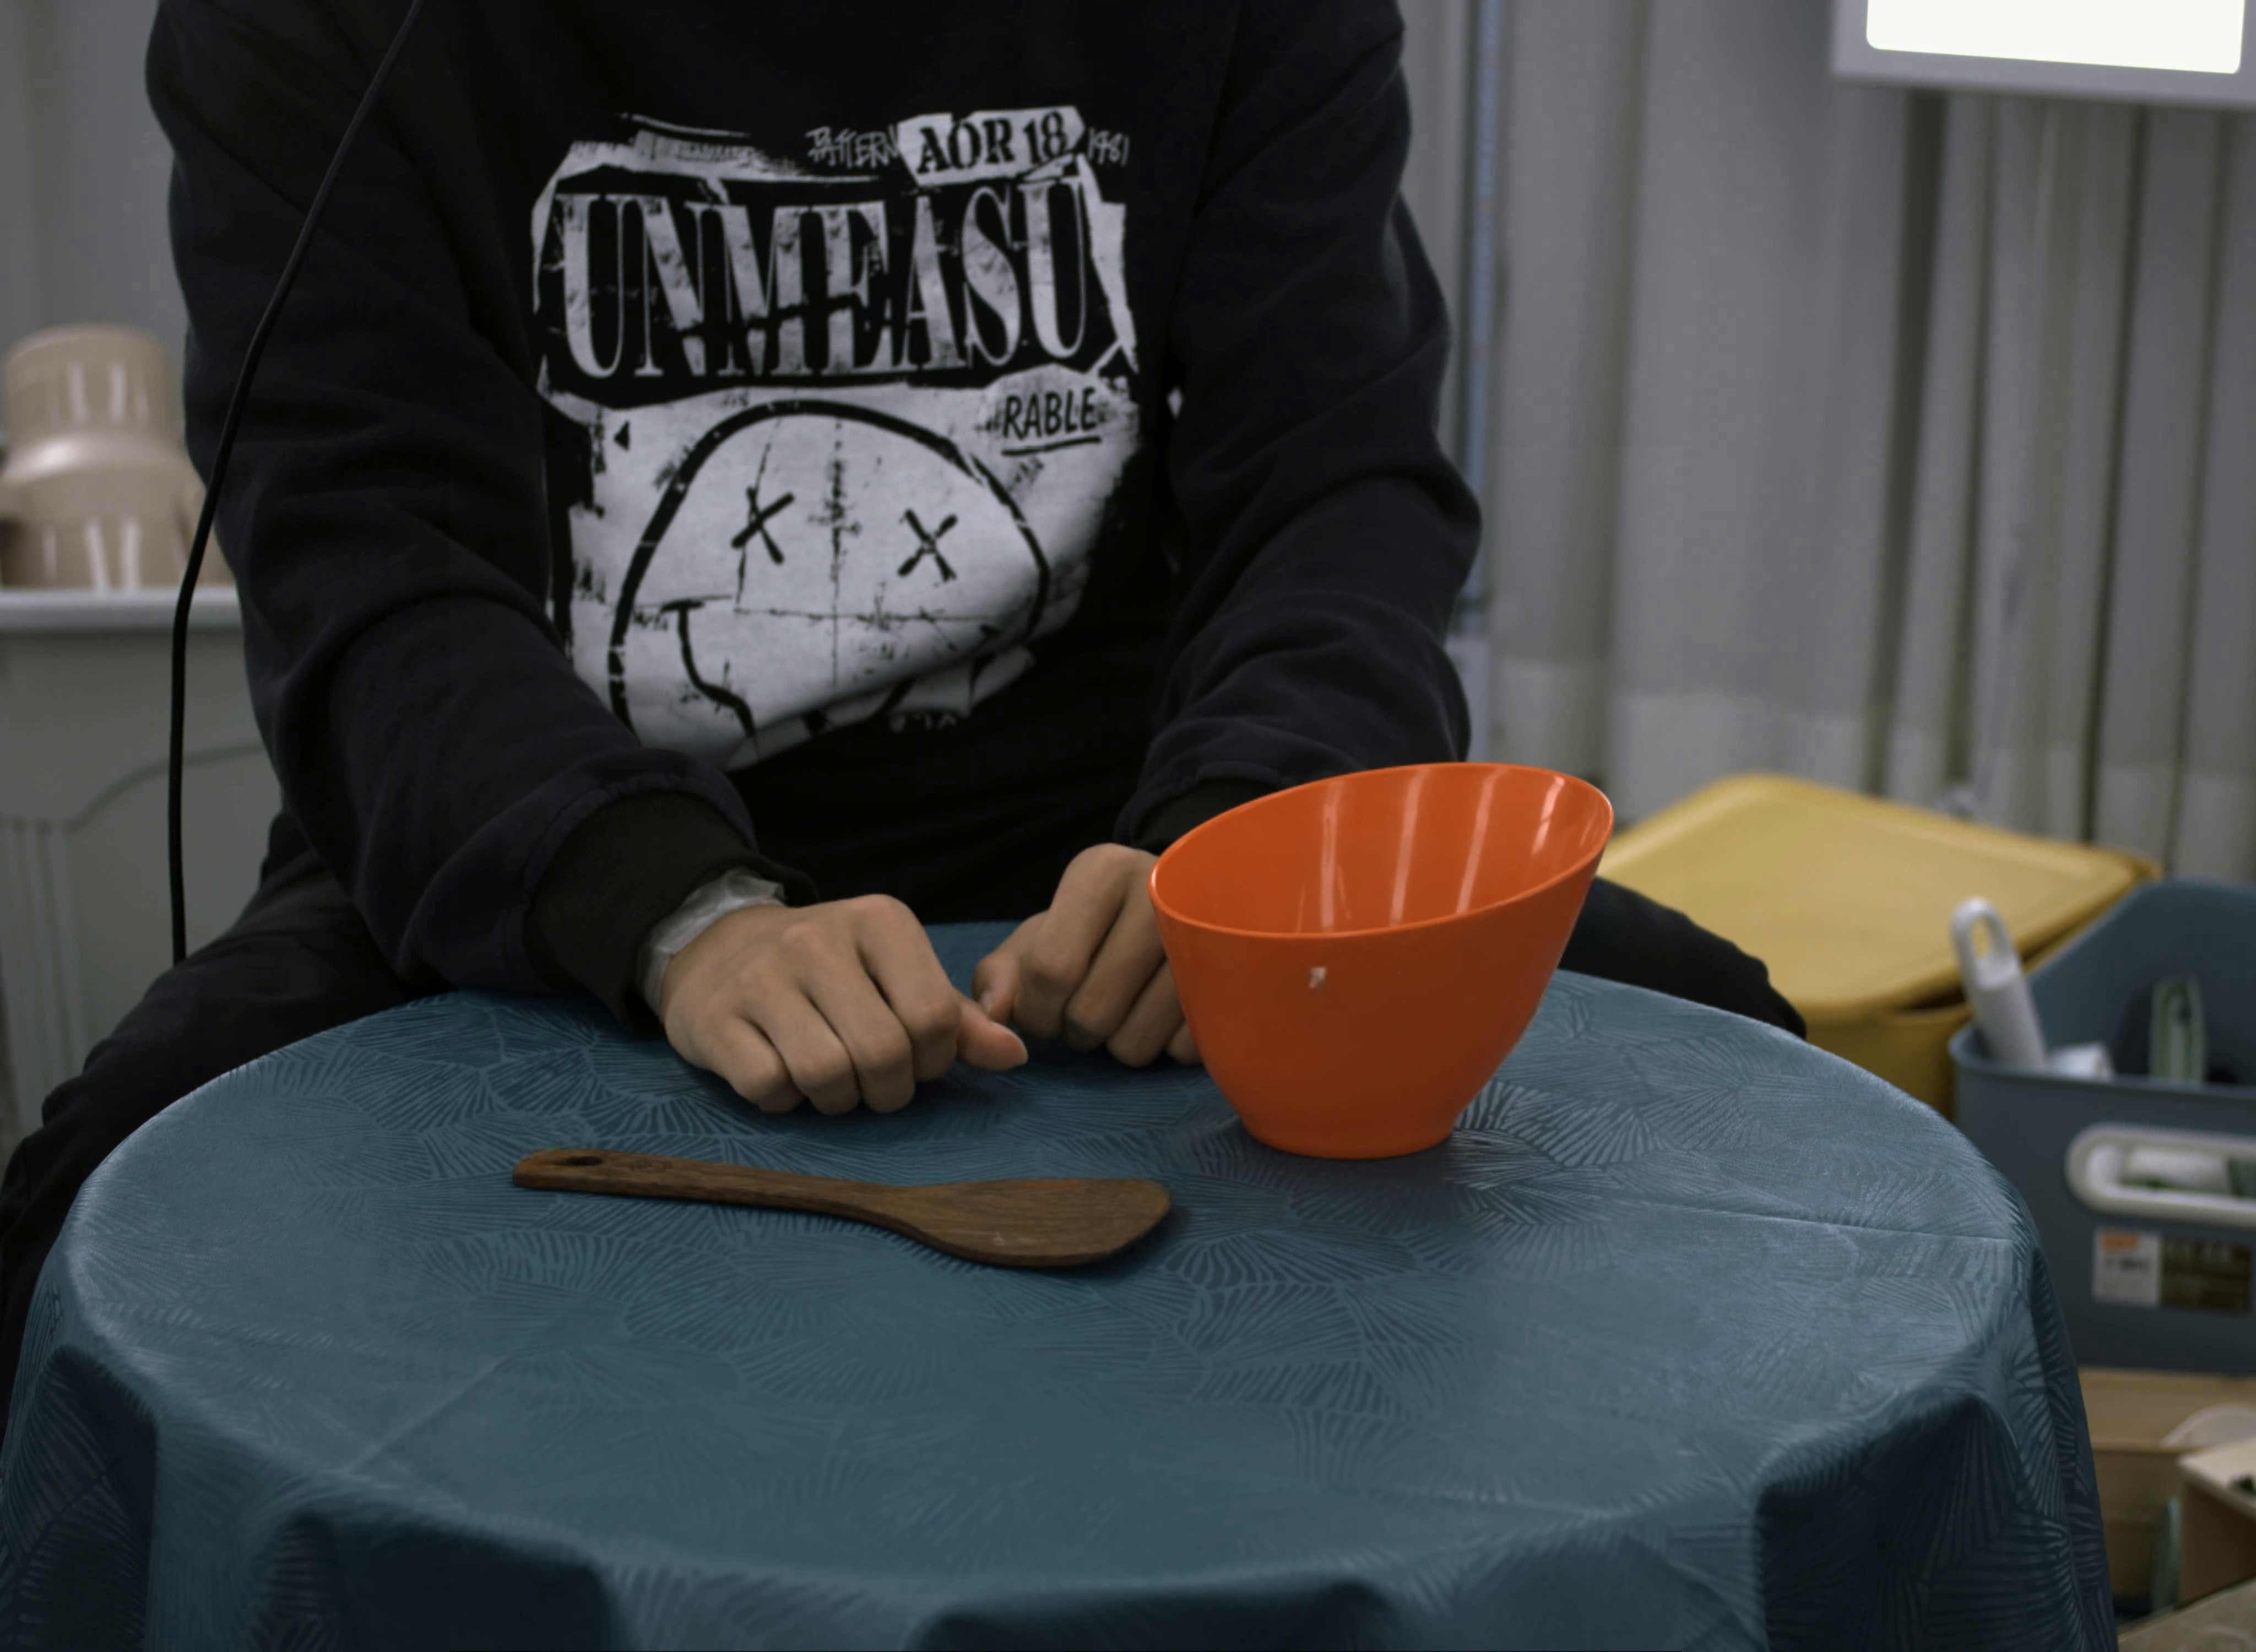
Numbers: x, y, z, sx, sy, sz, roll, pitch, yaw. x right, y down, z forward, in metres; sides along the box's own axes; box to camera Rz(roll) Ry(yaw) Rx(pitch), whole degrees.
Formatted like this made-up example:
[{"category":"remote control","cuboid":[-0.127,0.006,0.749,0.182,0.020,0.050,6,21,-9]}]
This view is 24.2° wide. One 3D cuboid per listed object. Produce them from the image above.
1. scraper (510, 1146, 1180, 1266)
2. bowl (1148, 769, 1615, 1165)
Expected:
[{"category":"scraper","cuboid":[-0.089,0.113,1.607,0.209,0.011,0.076,5,15,17]},{"category":"bowl","cuboid":[0.080,0.047,1.675,0.147,0.105,0.147,1,17,0]}]
